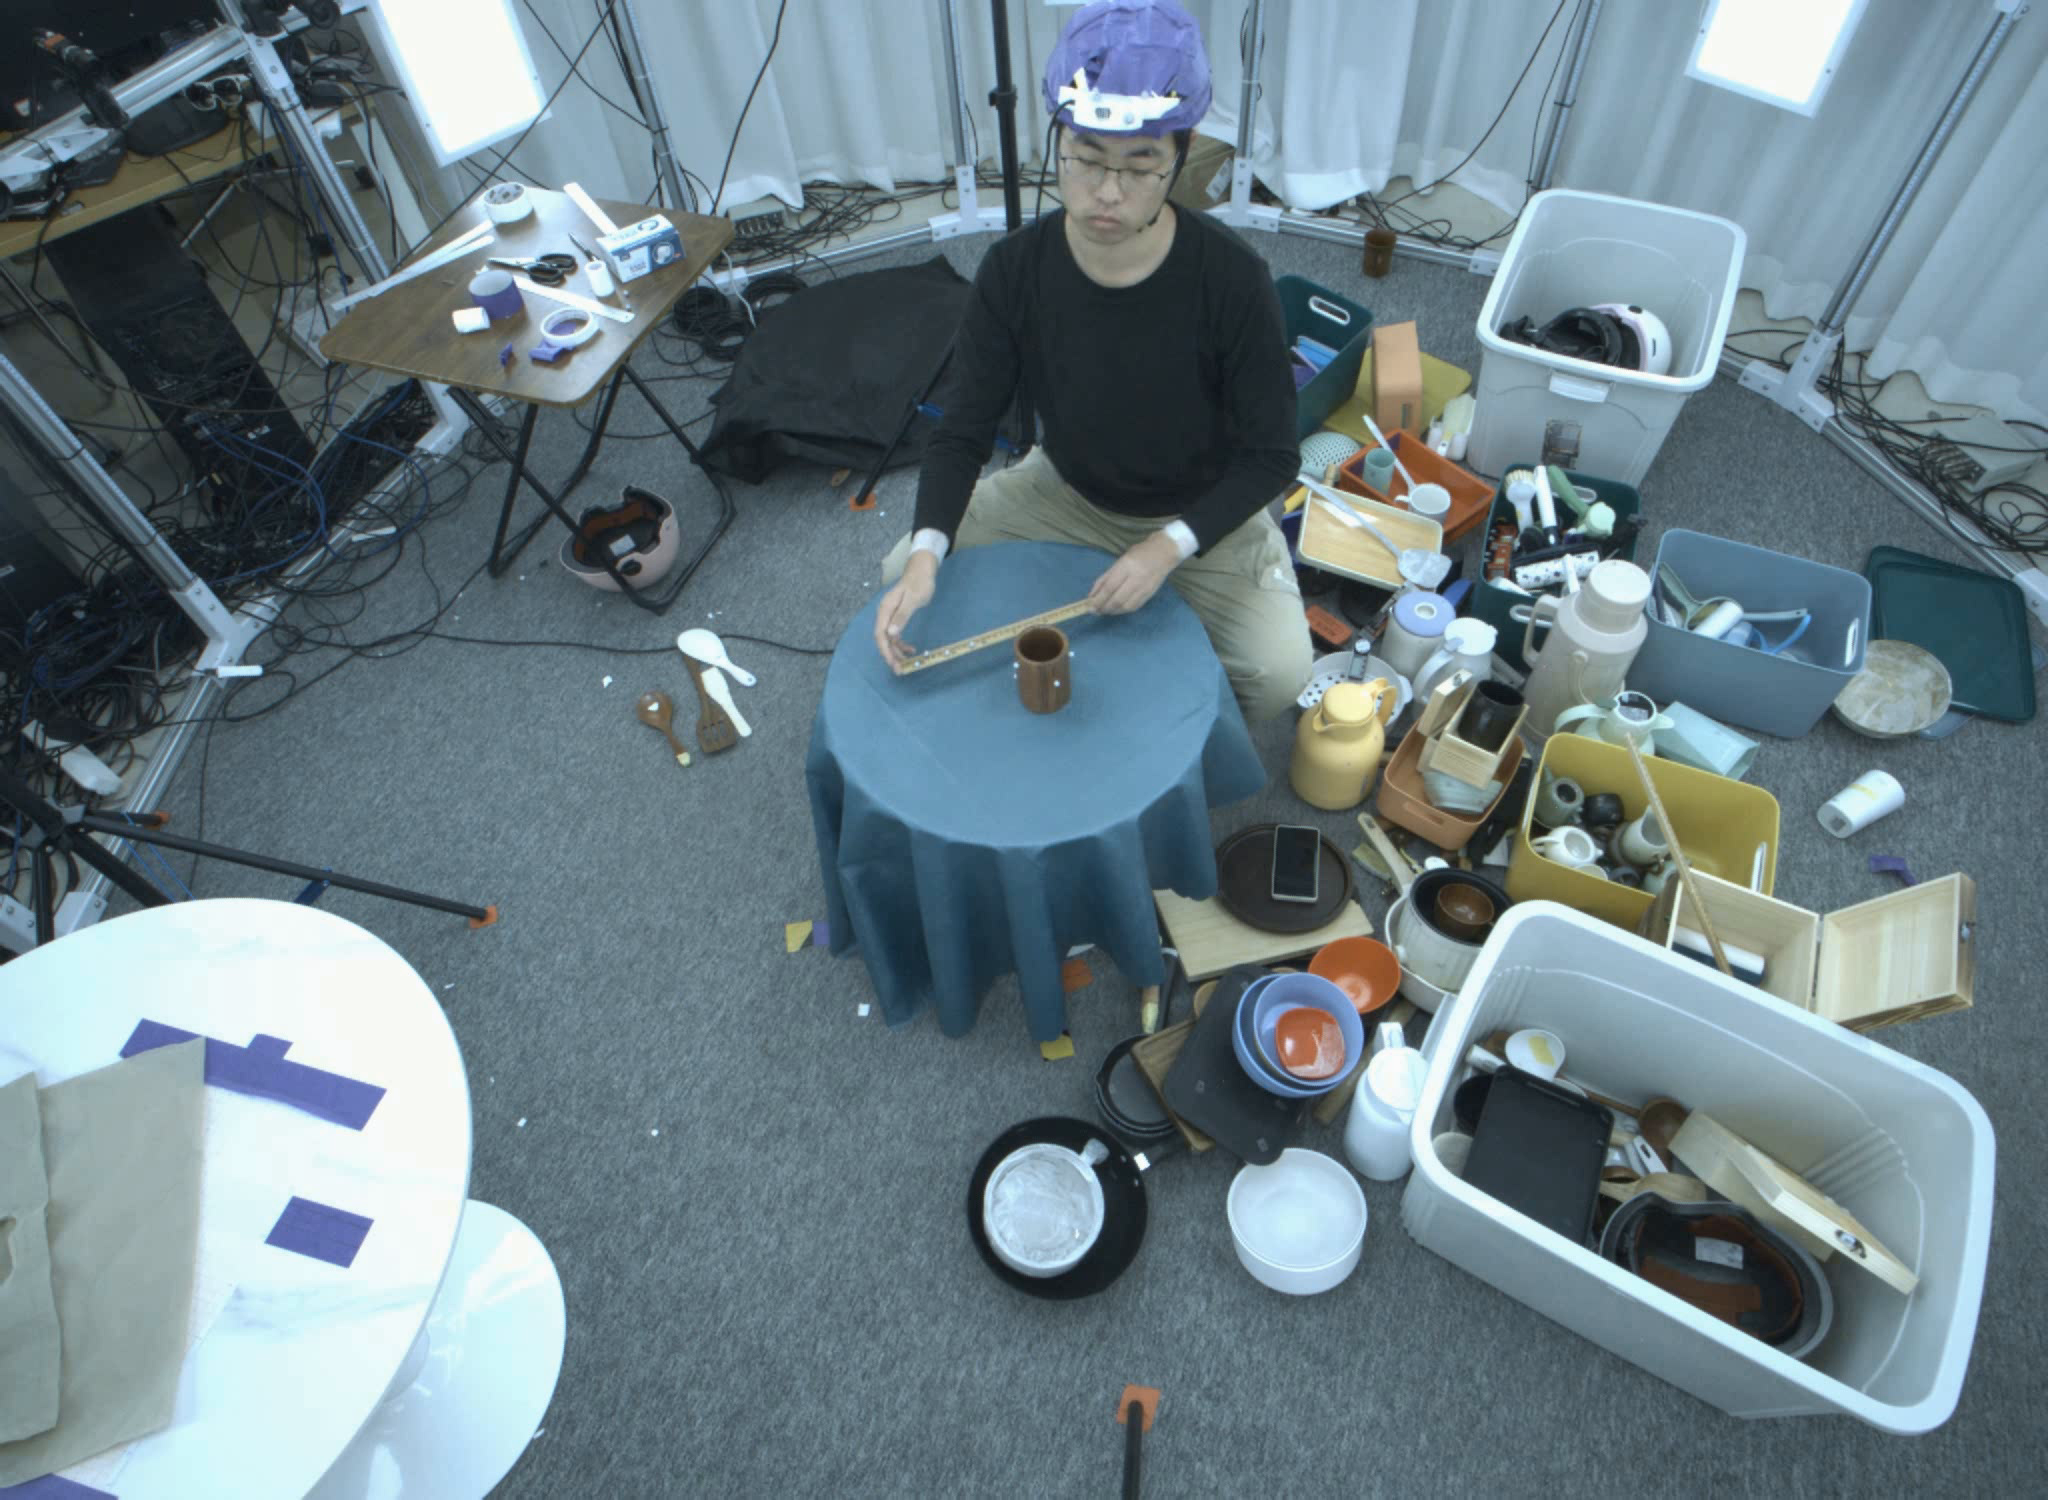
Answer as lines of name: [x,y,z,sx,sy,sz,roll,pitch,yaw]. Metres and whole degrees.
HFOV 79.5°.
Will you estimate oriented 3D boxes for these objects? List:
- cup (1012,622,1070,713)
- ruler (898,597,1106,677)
cup: [0.026,-0.120,1.800,0.087,0.119,0.087,-1,55,2]
ruler: [-0.032,-0.176,1.864,0.334,0.022,0.027,-20,55,-12]
